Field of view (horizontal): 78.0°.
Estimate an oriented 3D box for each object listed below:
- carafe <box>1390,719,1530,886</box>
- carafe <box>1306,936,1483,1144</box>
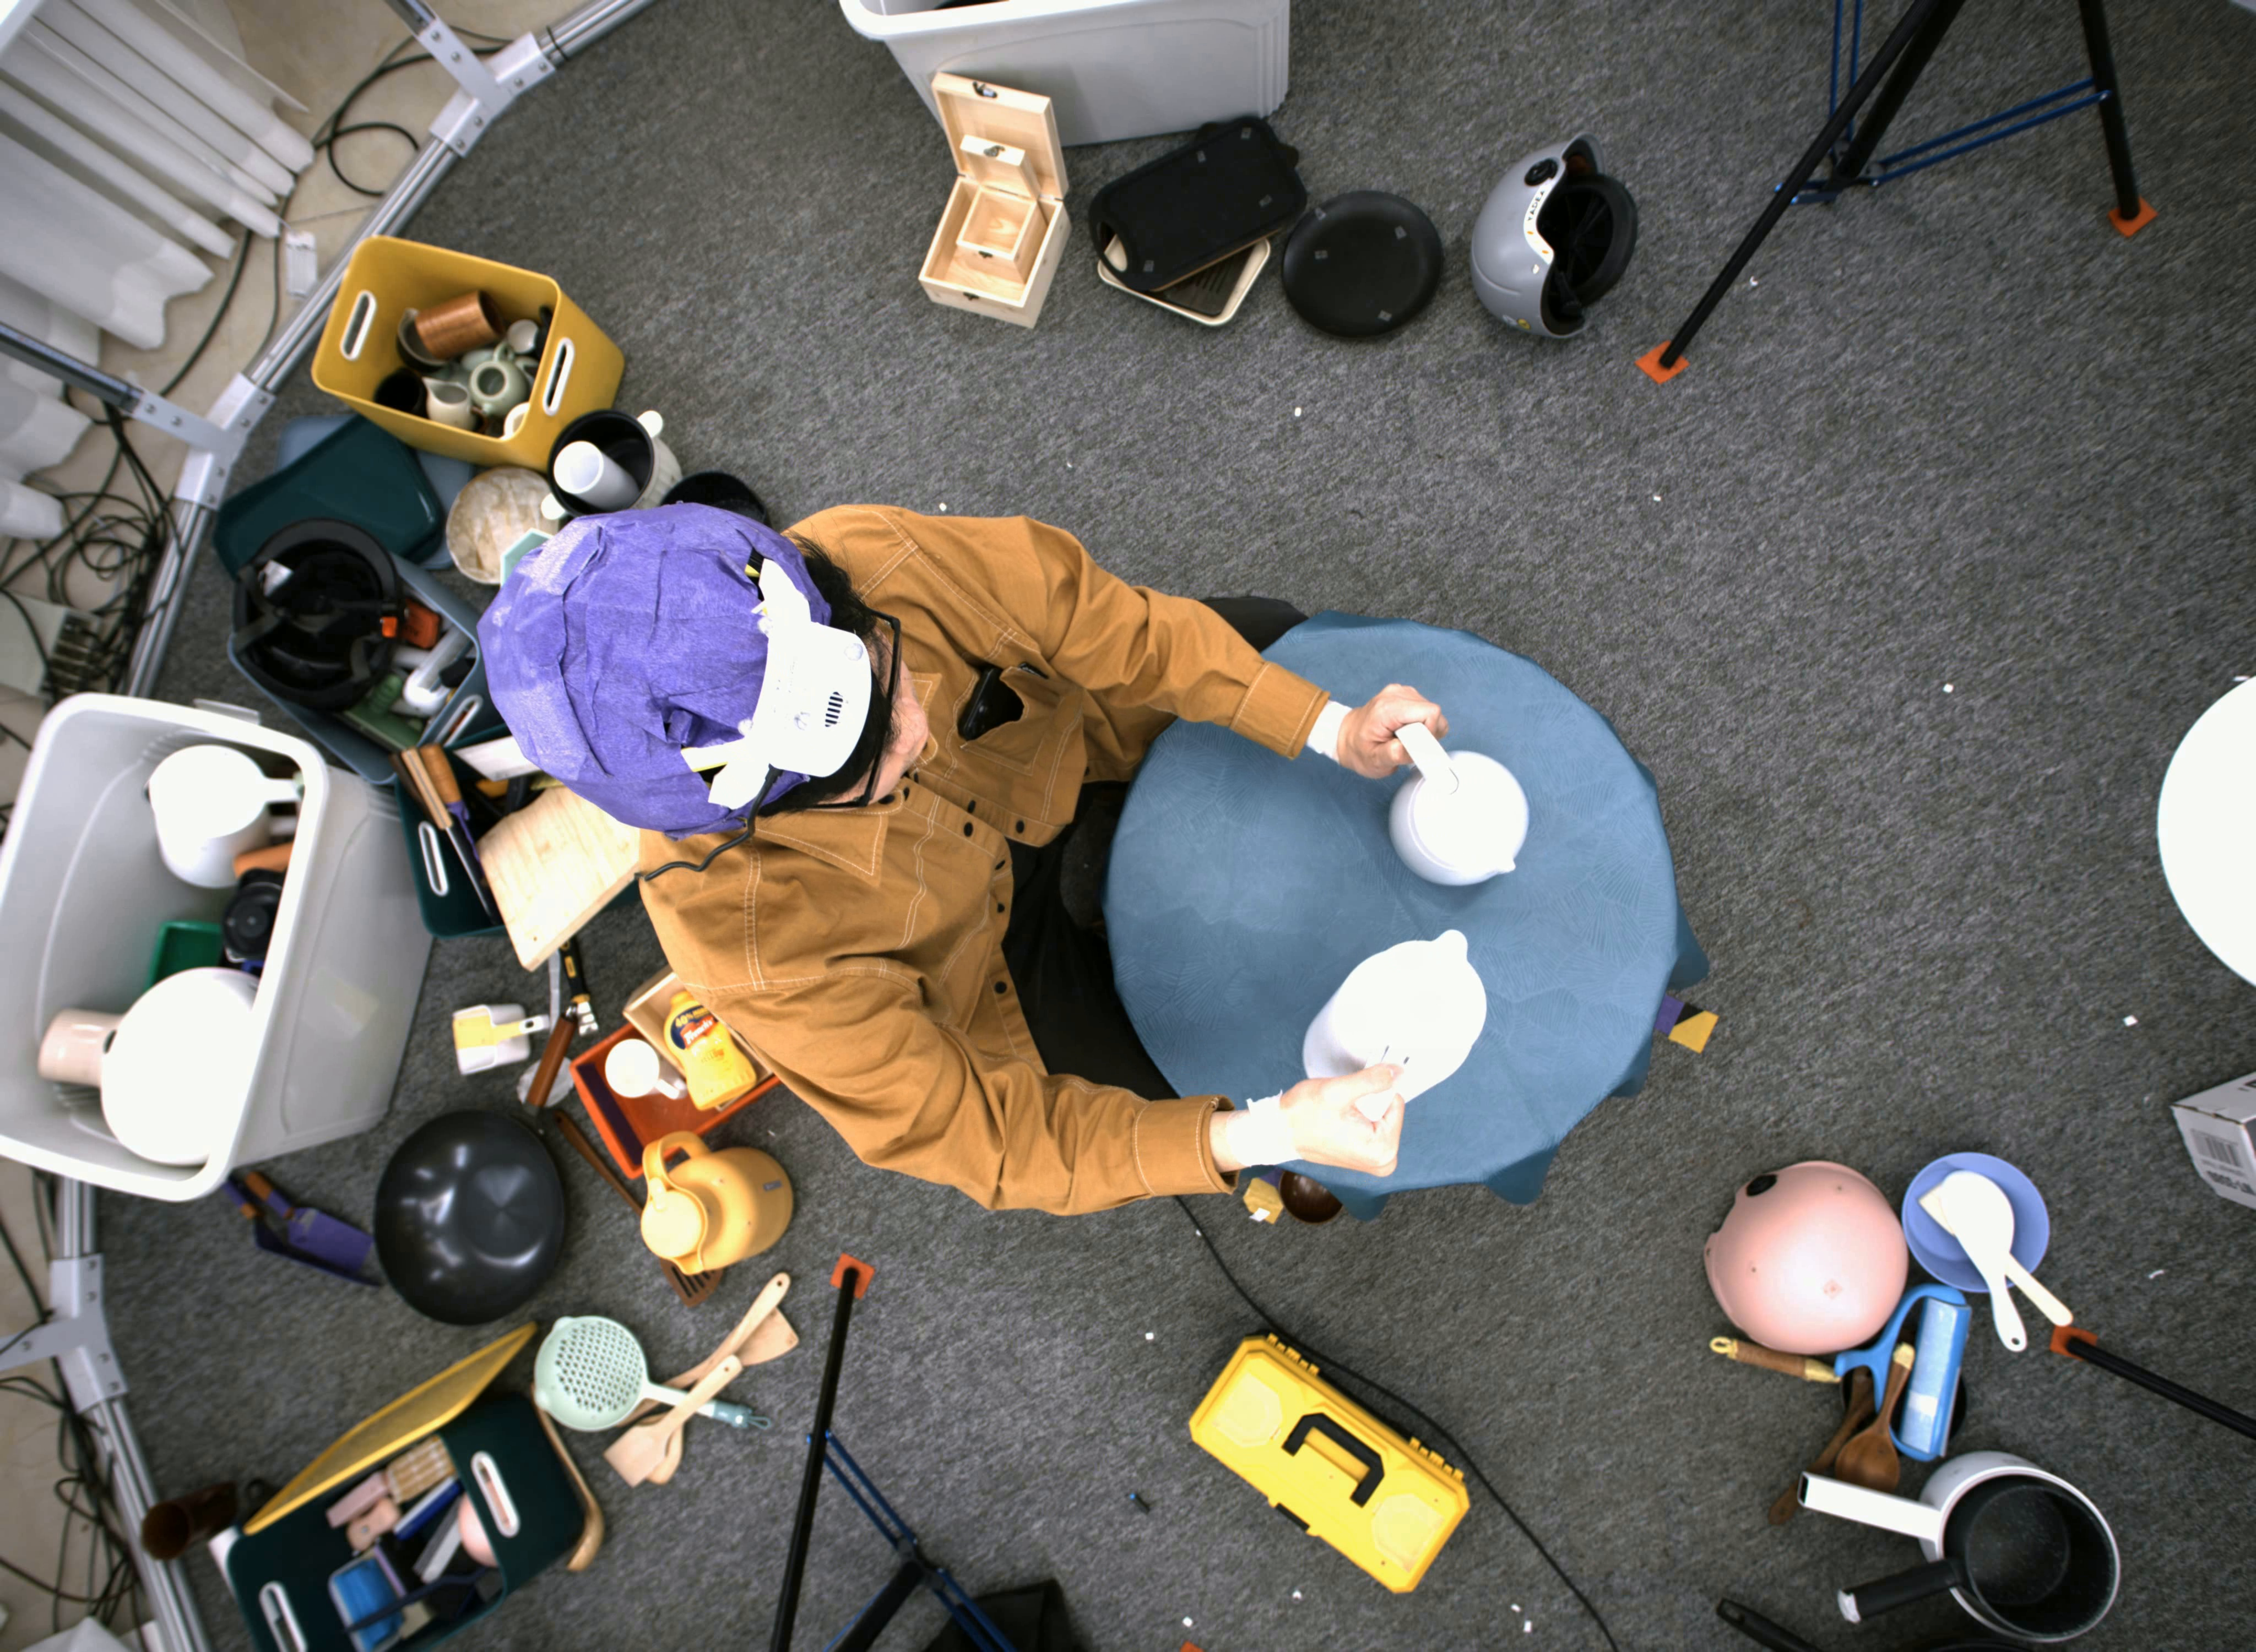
[{"bbox_3d":[0.303,-0.025,1.298,0.133,0.248,0.167,-34,83,9],"label":"carafe"},{"bbox_3d":[0.224,0.198,1.217,0.124,0.272,0.170,30,75,6],"label":"carafe"}]
